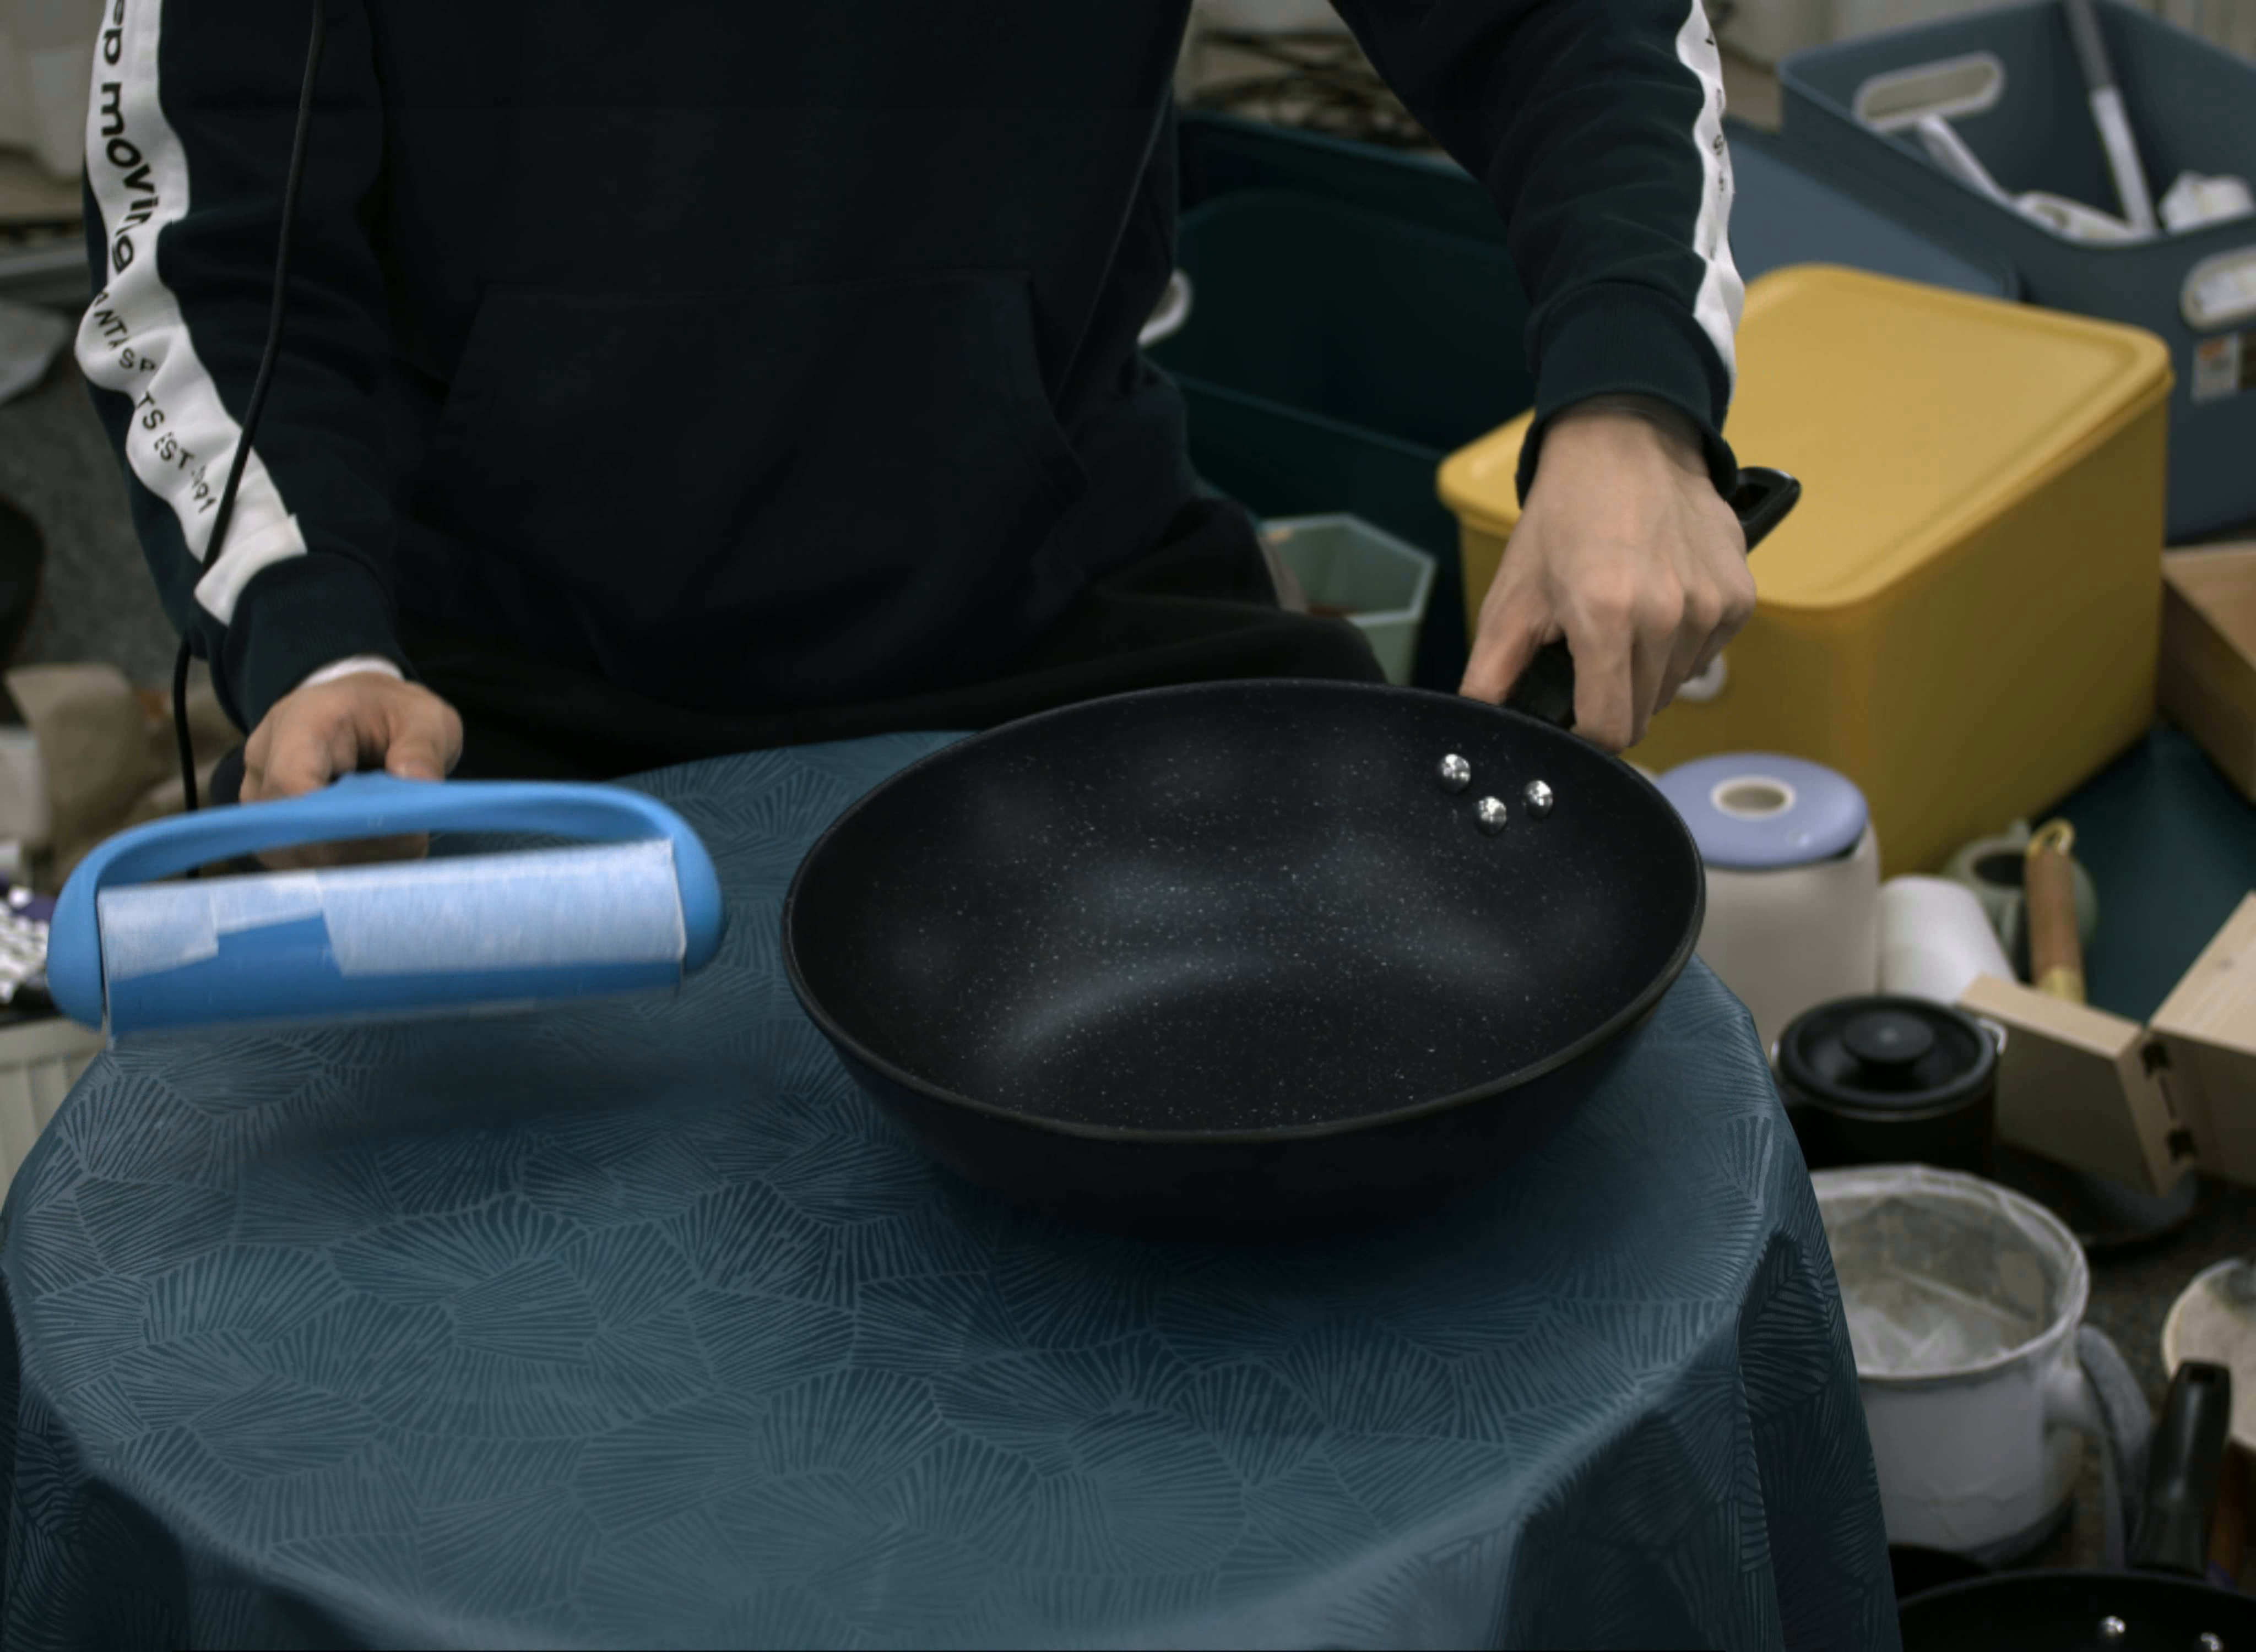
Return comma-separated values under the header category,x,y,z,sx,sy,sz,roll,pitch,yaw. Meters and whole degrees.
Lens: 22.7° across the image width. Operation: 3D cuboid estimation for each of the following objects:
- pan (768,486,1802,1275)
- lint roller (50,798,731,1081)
category,x,y,z,sx,sy,sz,roll,pitch,yaw
pan,0.089,0.020,1.931,0.309,0.110,0.484,20,36,34
lint roller,-0.263,0.023,1.939,0.229,0.067,0.182,-8,26,-15
